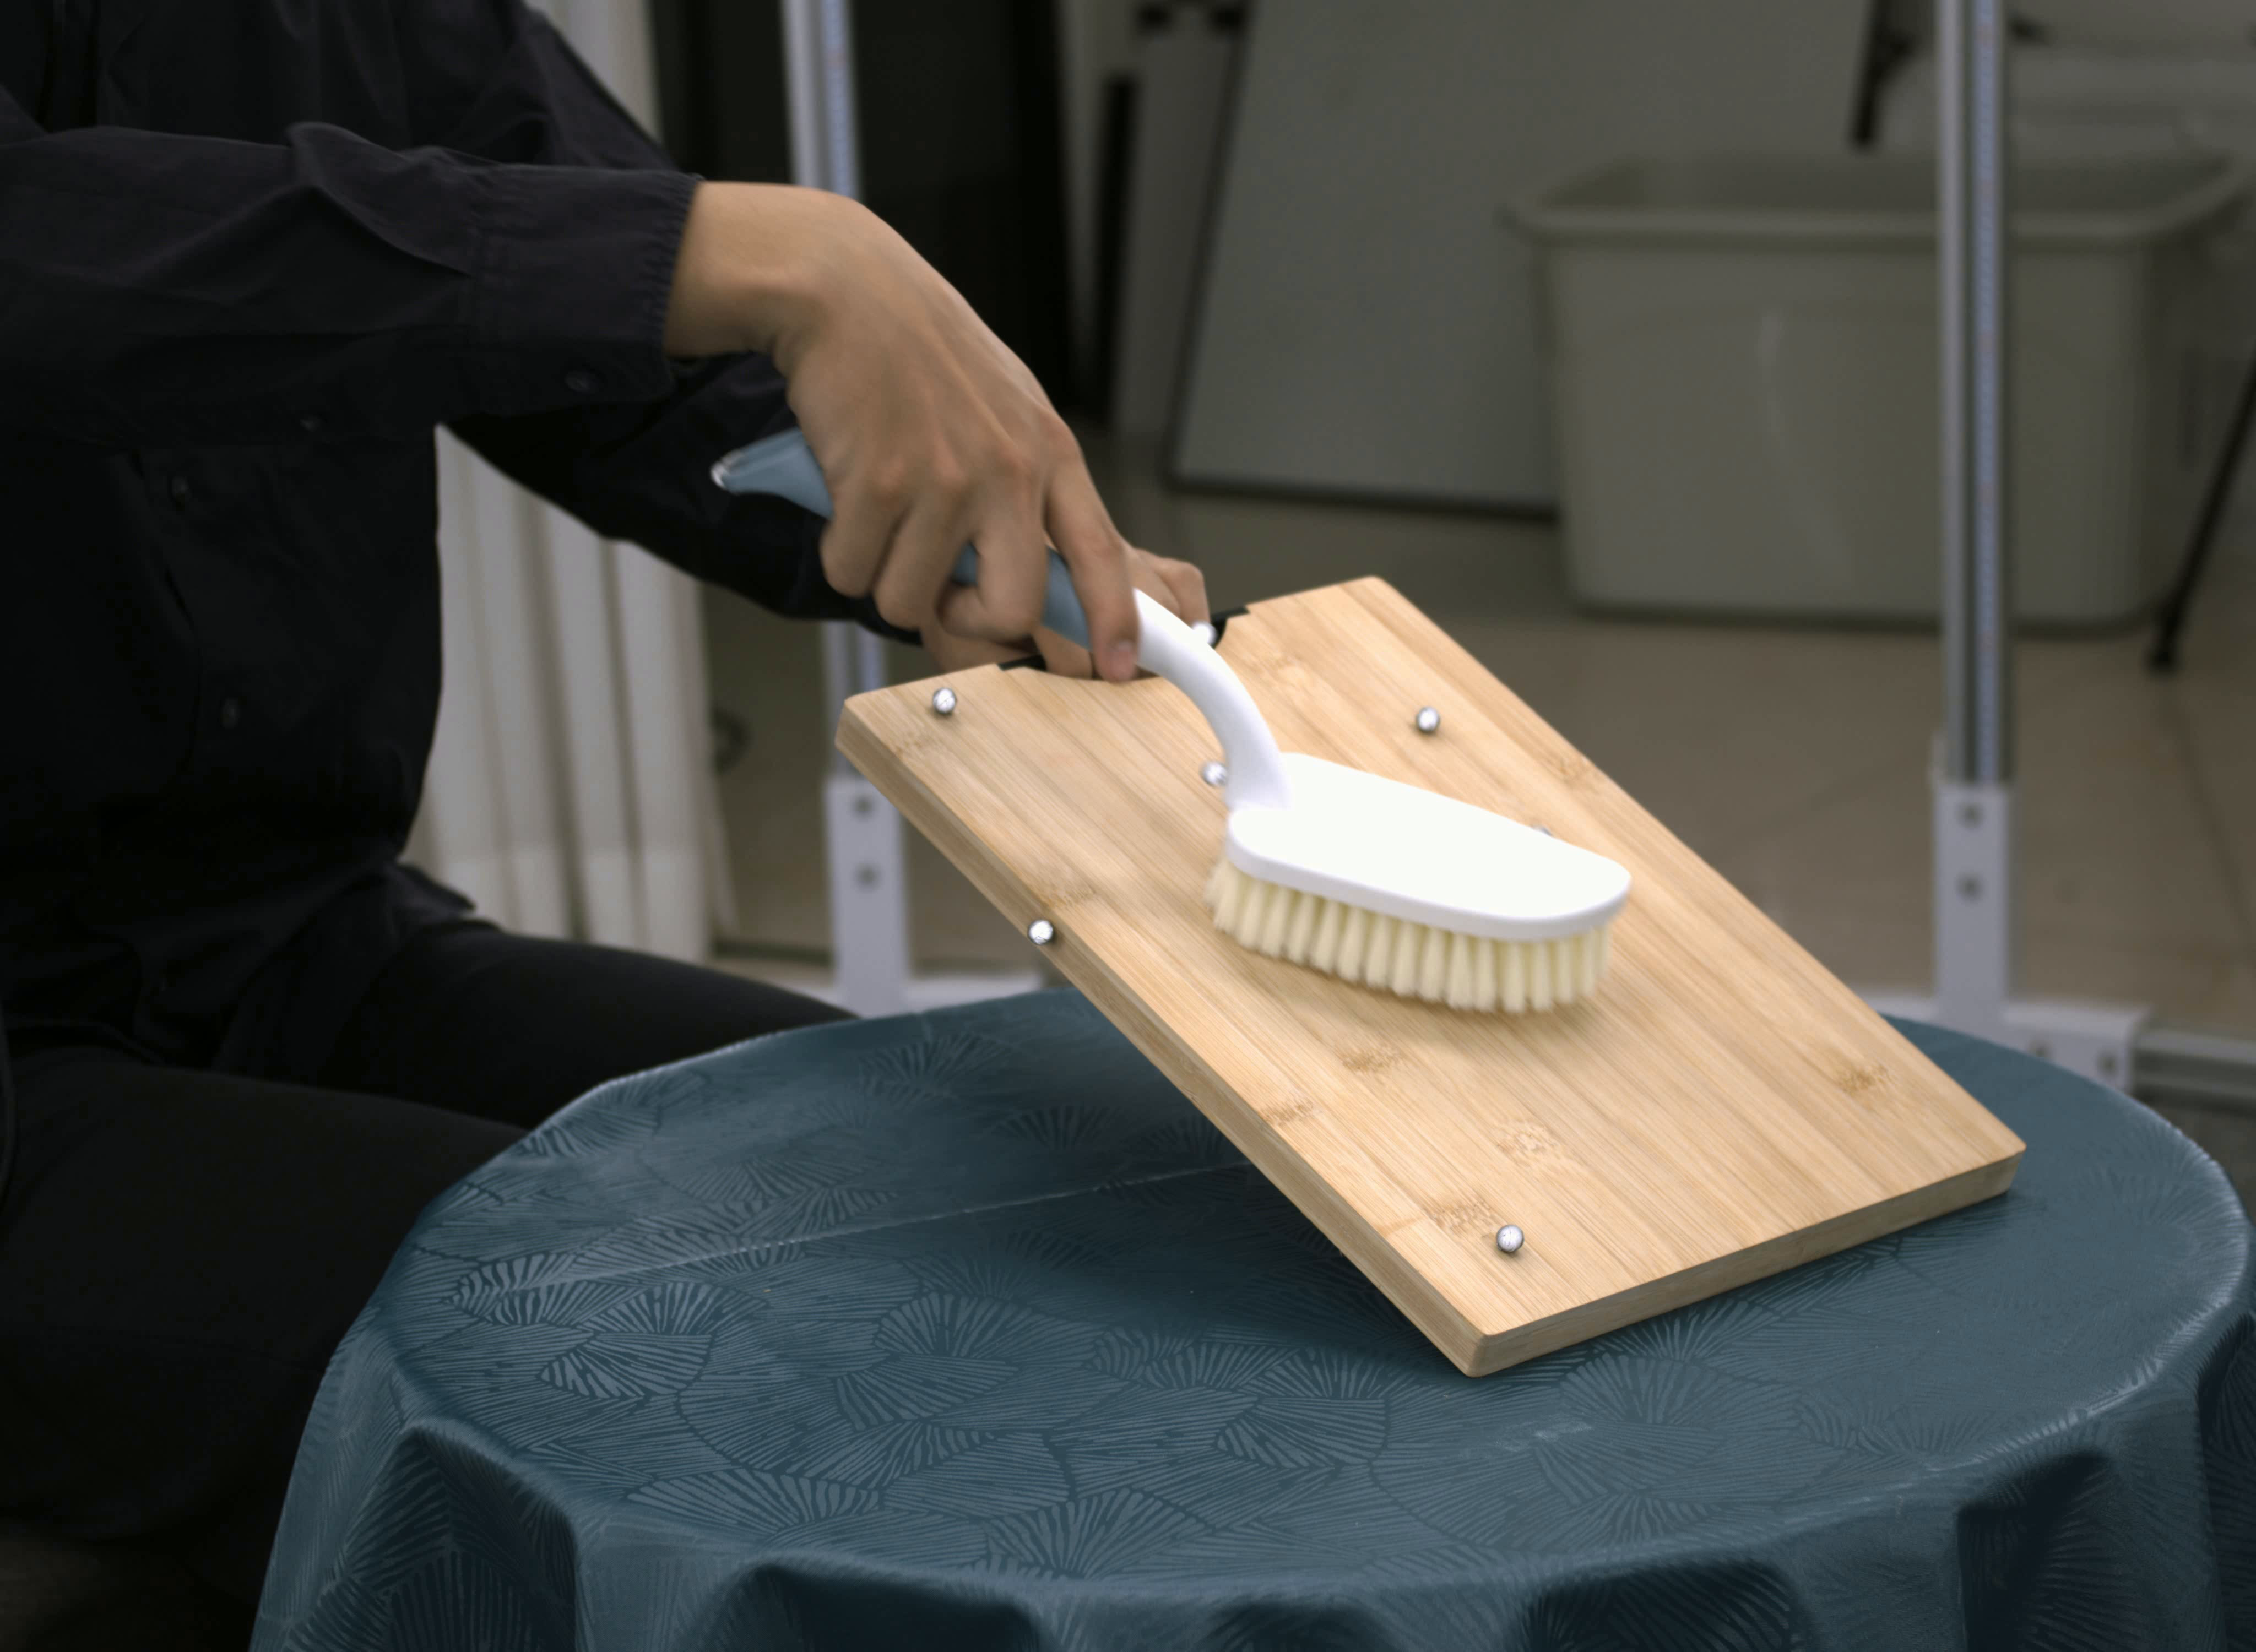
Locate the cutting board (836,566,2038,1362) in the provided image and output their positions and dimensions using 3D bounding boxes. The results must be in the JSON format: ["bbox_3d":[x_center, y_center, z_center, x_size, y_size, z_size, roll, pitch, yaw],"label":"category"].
[{"bbox_3d":[0.096,0.035,1.747,0.245,0.024,0.352,-15,43,-38],"label":"cutting board"}]

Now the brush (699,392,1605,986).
[{"bbox_3d":[0.000,-0.032,1.723,0.323,0.085,0.083,27,-5,2],"label":"brush"}]
